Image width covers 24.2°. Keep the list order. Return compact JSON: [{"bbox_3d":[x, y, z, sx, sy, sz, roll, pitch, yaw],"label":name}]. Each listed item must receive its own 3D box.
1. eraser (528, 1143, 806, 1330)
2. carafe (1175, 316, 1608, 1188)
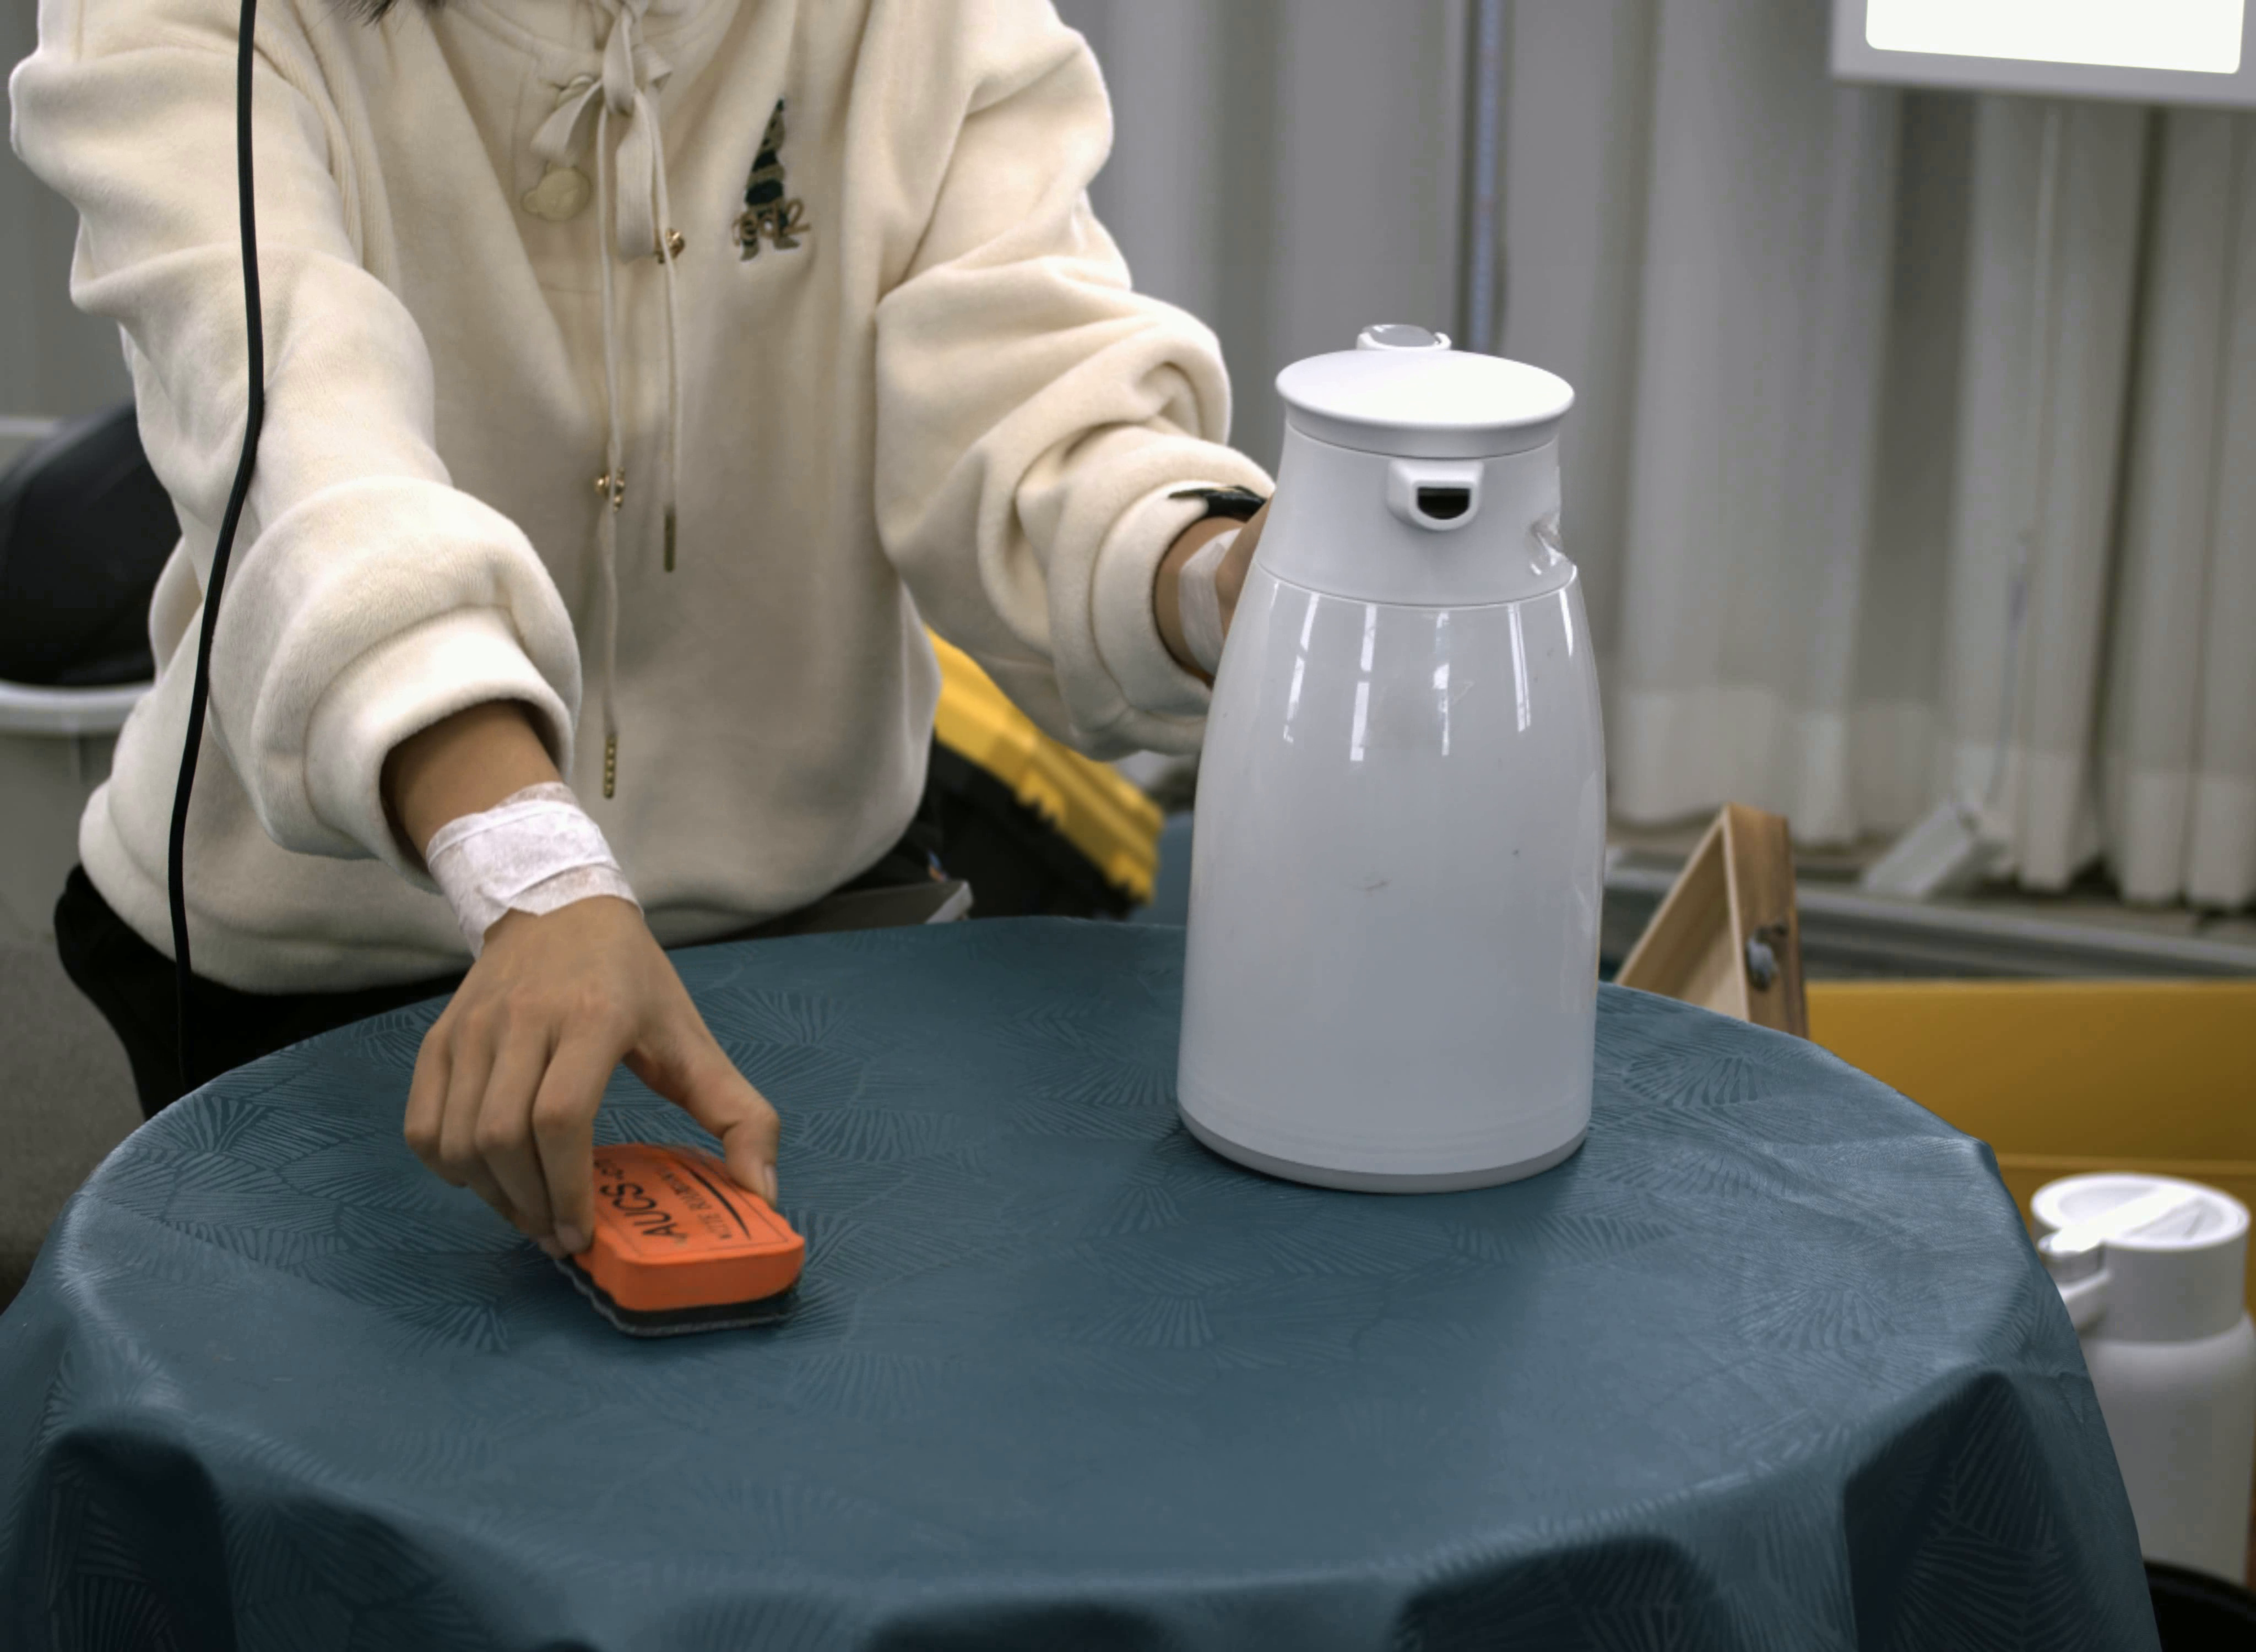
[{"bbox_3d":[-0.136,0.119,1.543,0.059,0.023,0.107,-1,15,-23],"label":"eraser"},{"bbox_3d":[0.084,-0.032,1.656,0.132,0.251,0.166,1,19,-6],"label":"carafe"}]
